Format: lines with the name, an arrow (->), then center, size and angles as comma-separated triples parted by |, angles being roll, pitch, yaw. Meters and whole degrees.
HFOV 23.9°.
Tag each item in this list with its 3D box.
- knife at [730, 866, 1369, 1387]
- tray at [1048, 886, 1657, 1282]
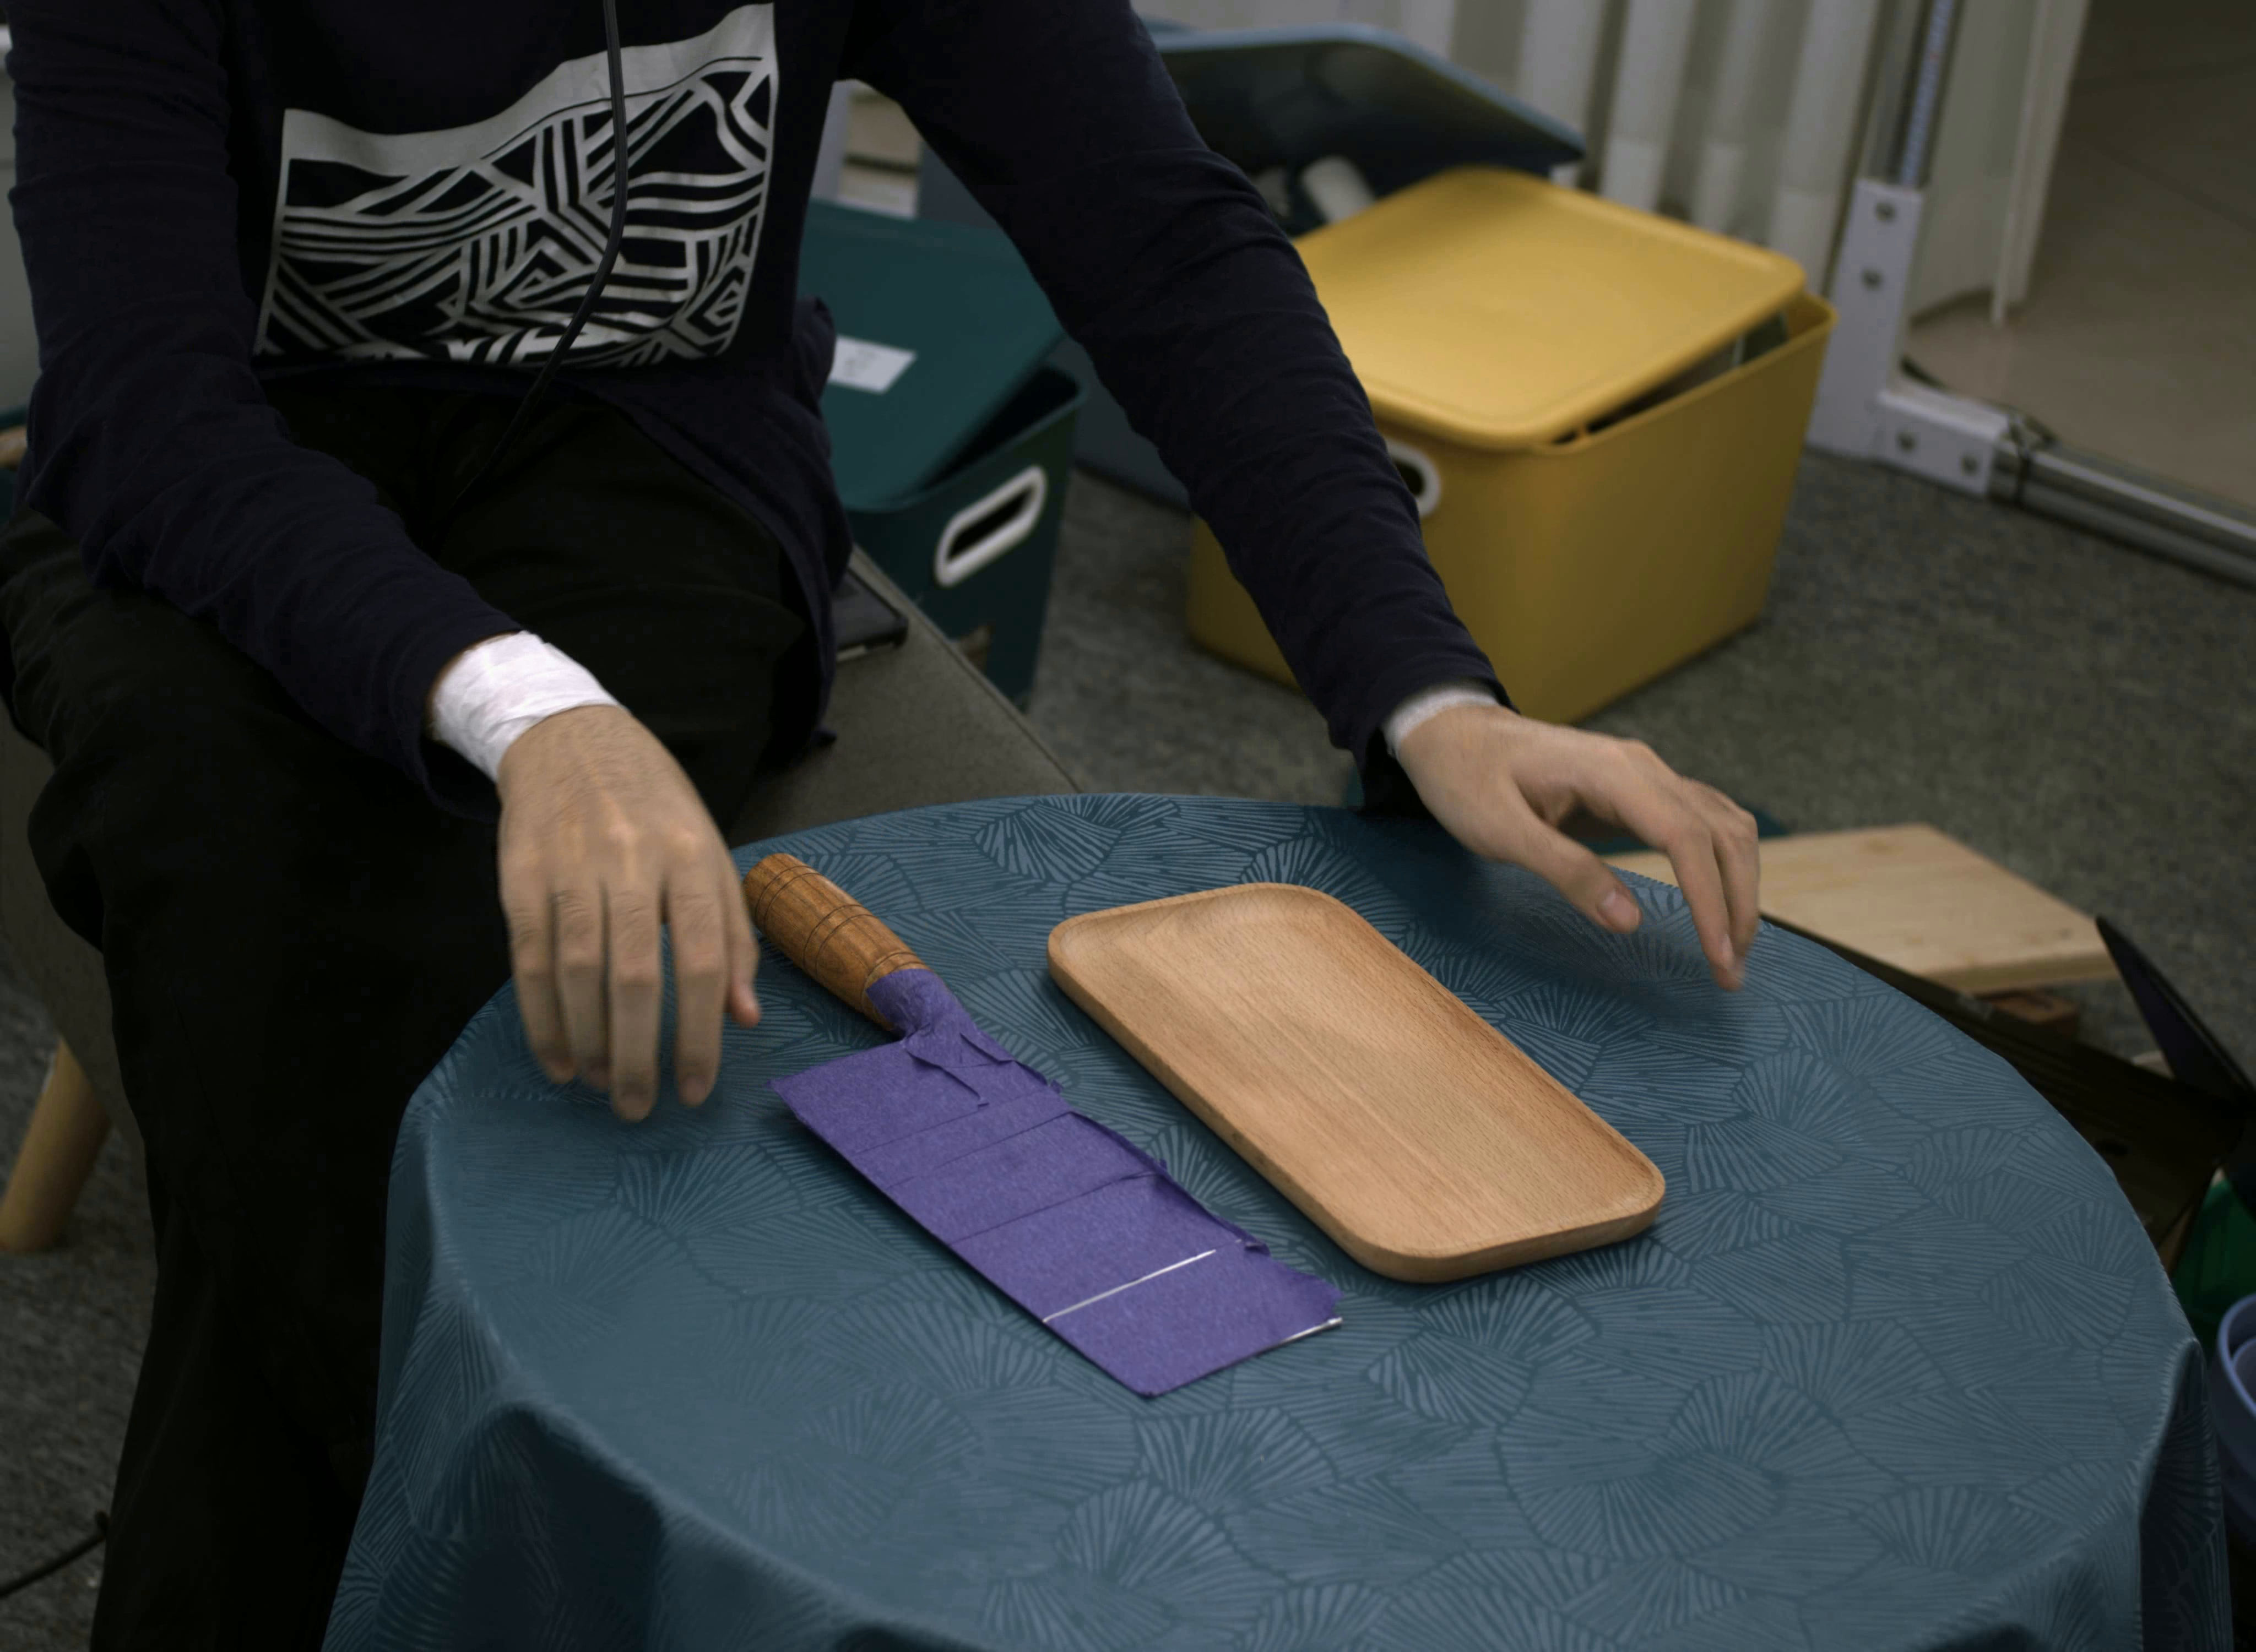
knife -> -0.057, 0.098, 1.814 | 0.103, 0.032, 0.318 | -15, 34, -38
tray -> 0.075, 0.088, 1.875 | 0.130, 0.023, 0.253 | -10, 32, -26
